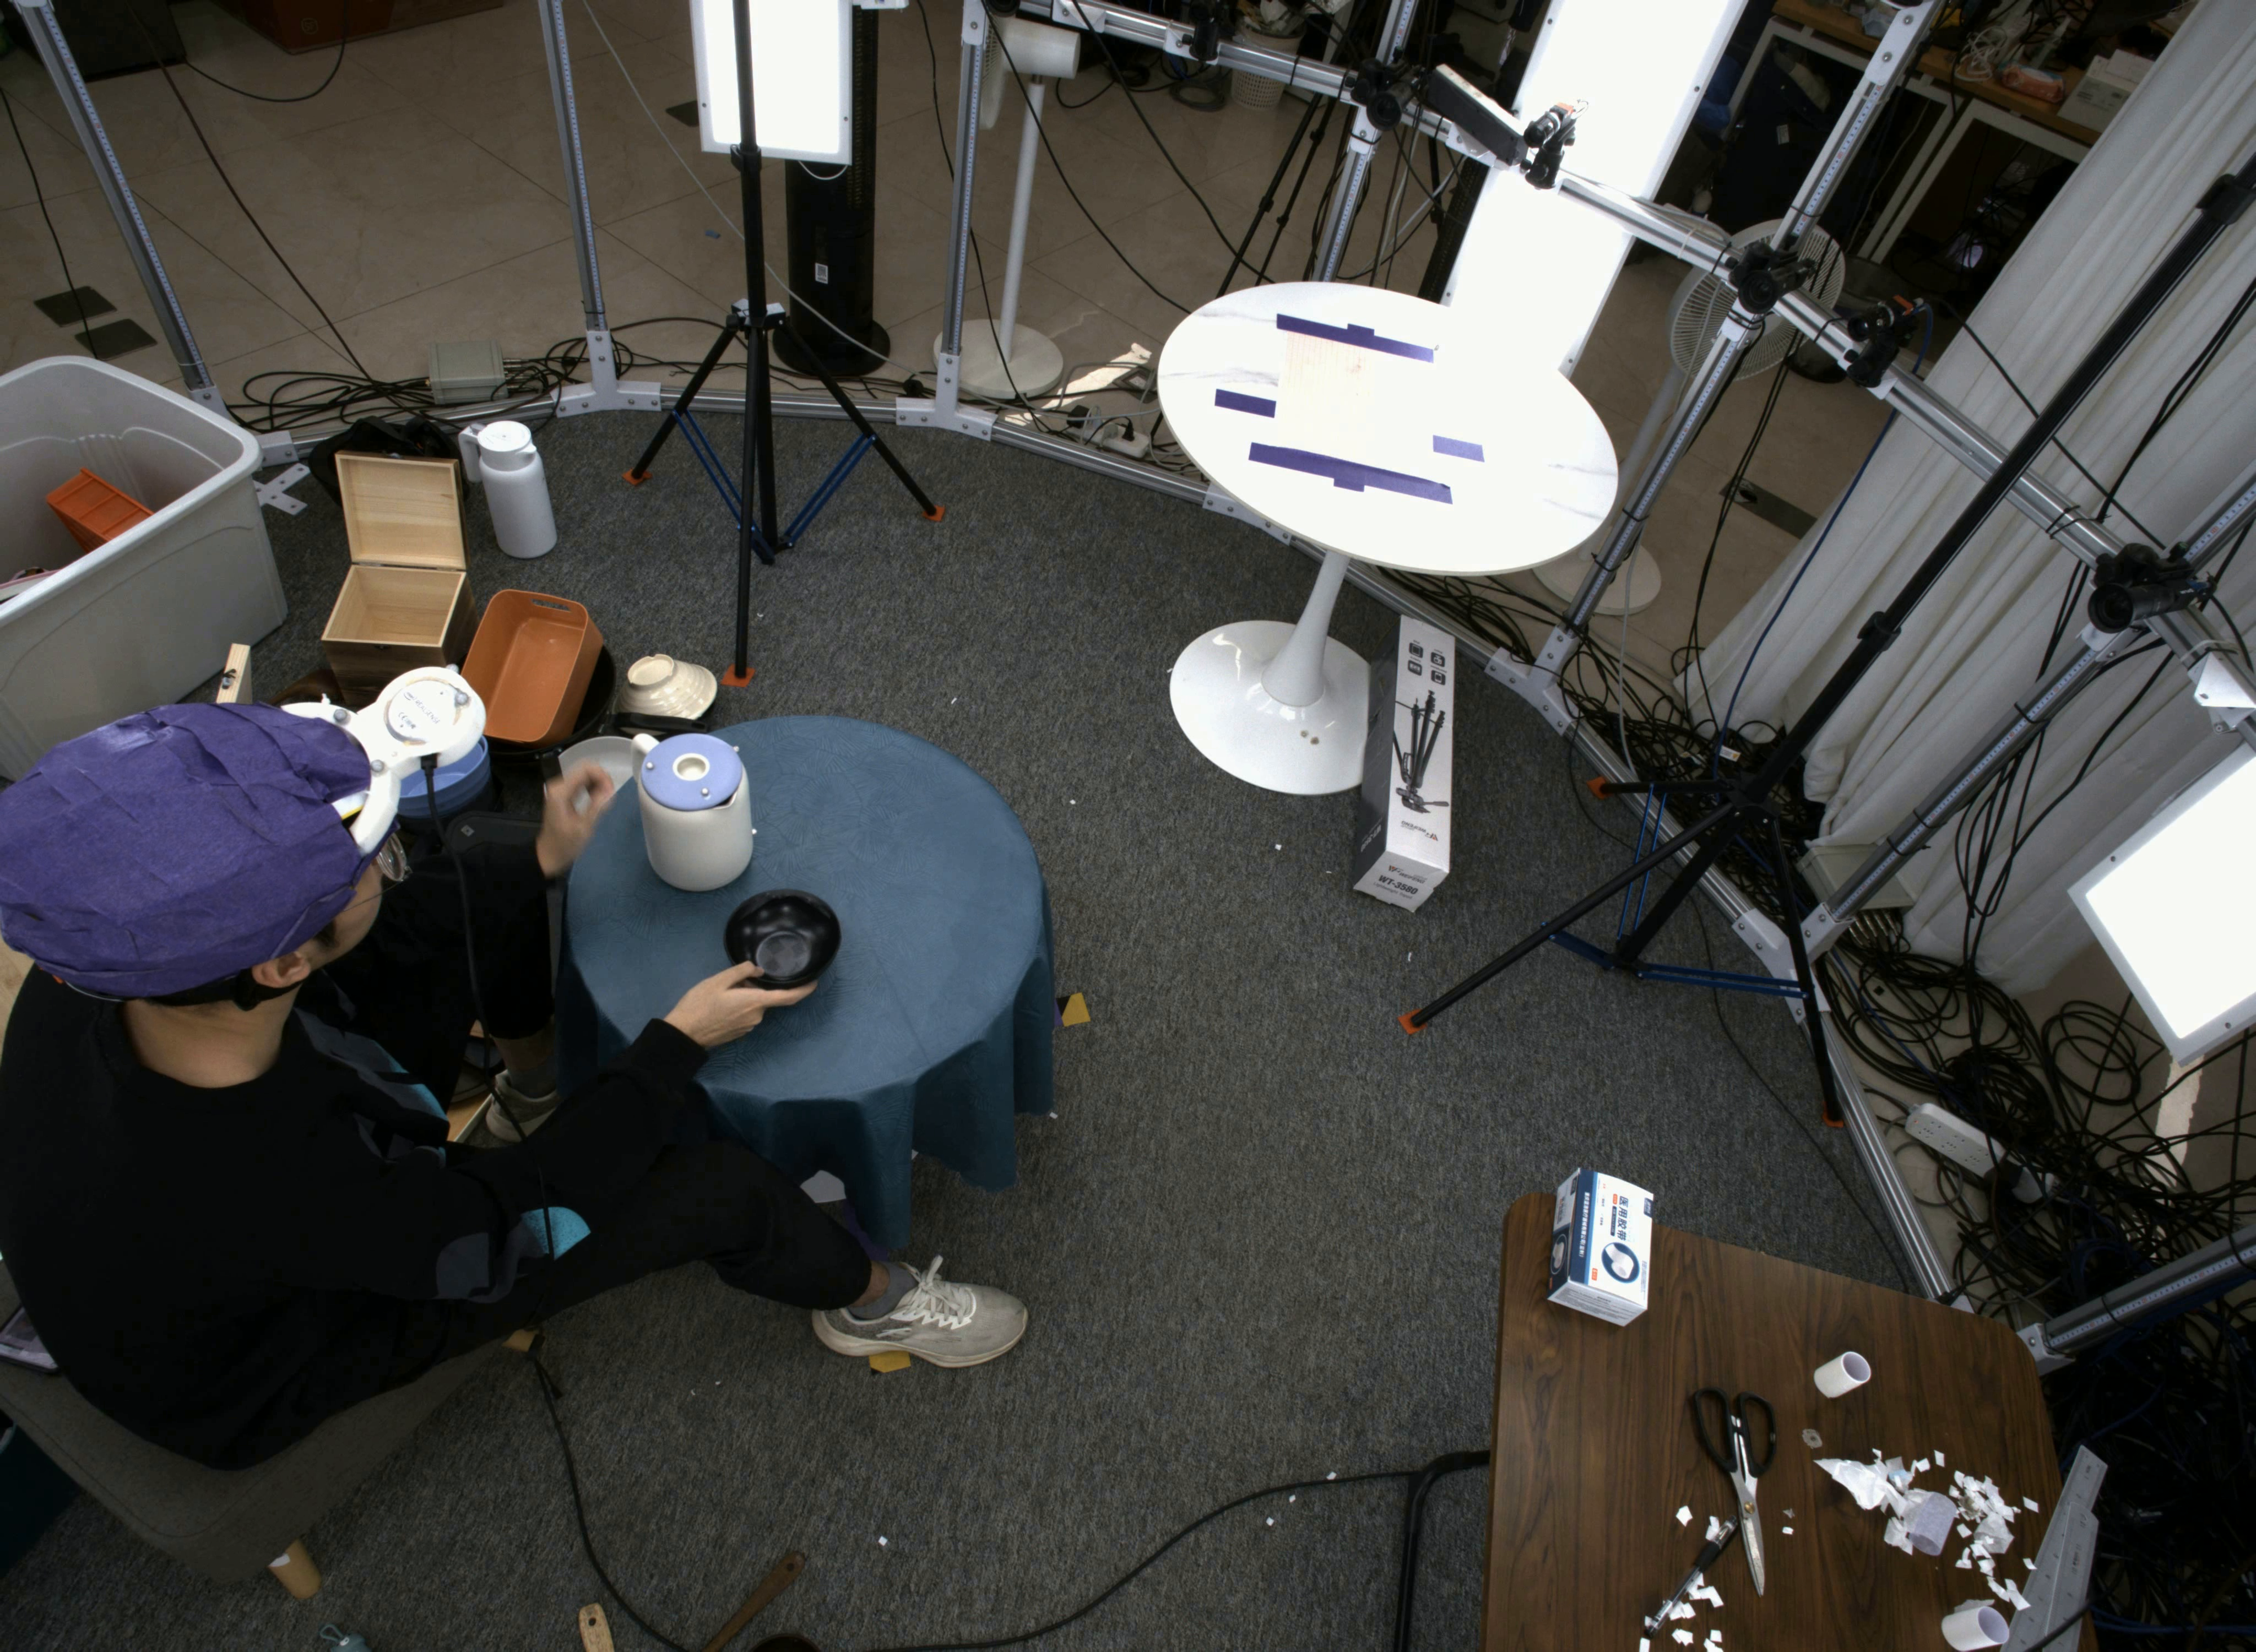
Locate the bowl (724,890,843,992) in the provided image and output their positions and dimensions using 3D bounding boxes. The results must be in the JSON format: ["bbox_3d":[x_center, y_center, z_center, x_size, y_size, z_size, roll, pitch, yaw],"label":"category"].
[{"bbox_3d":[-0.417,0.145,1.571,0.140,0.051,0.137,8,51,-8],"label":"bowl"}]

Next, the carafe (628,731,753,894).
[{"bbox_3d":[-0.557,-0.031,1.607,0.187,0.187,0.132,34,52,16],"label":"carafe"}]
